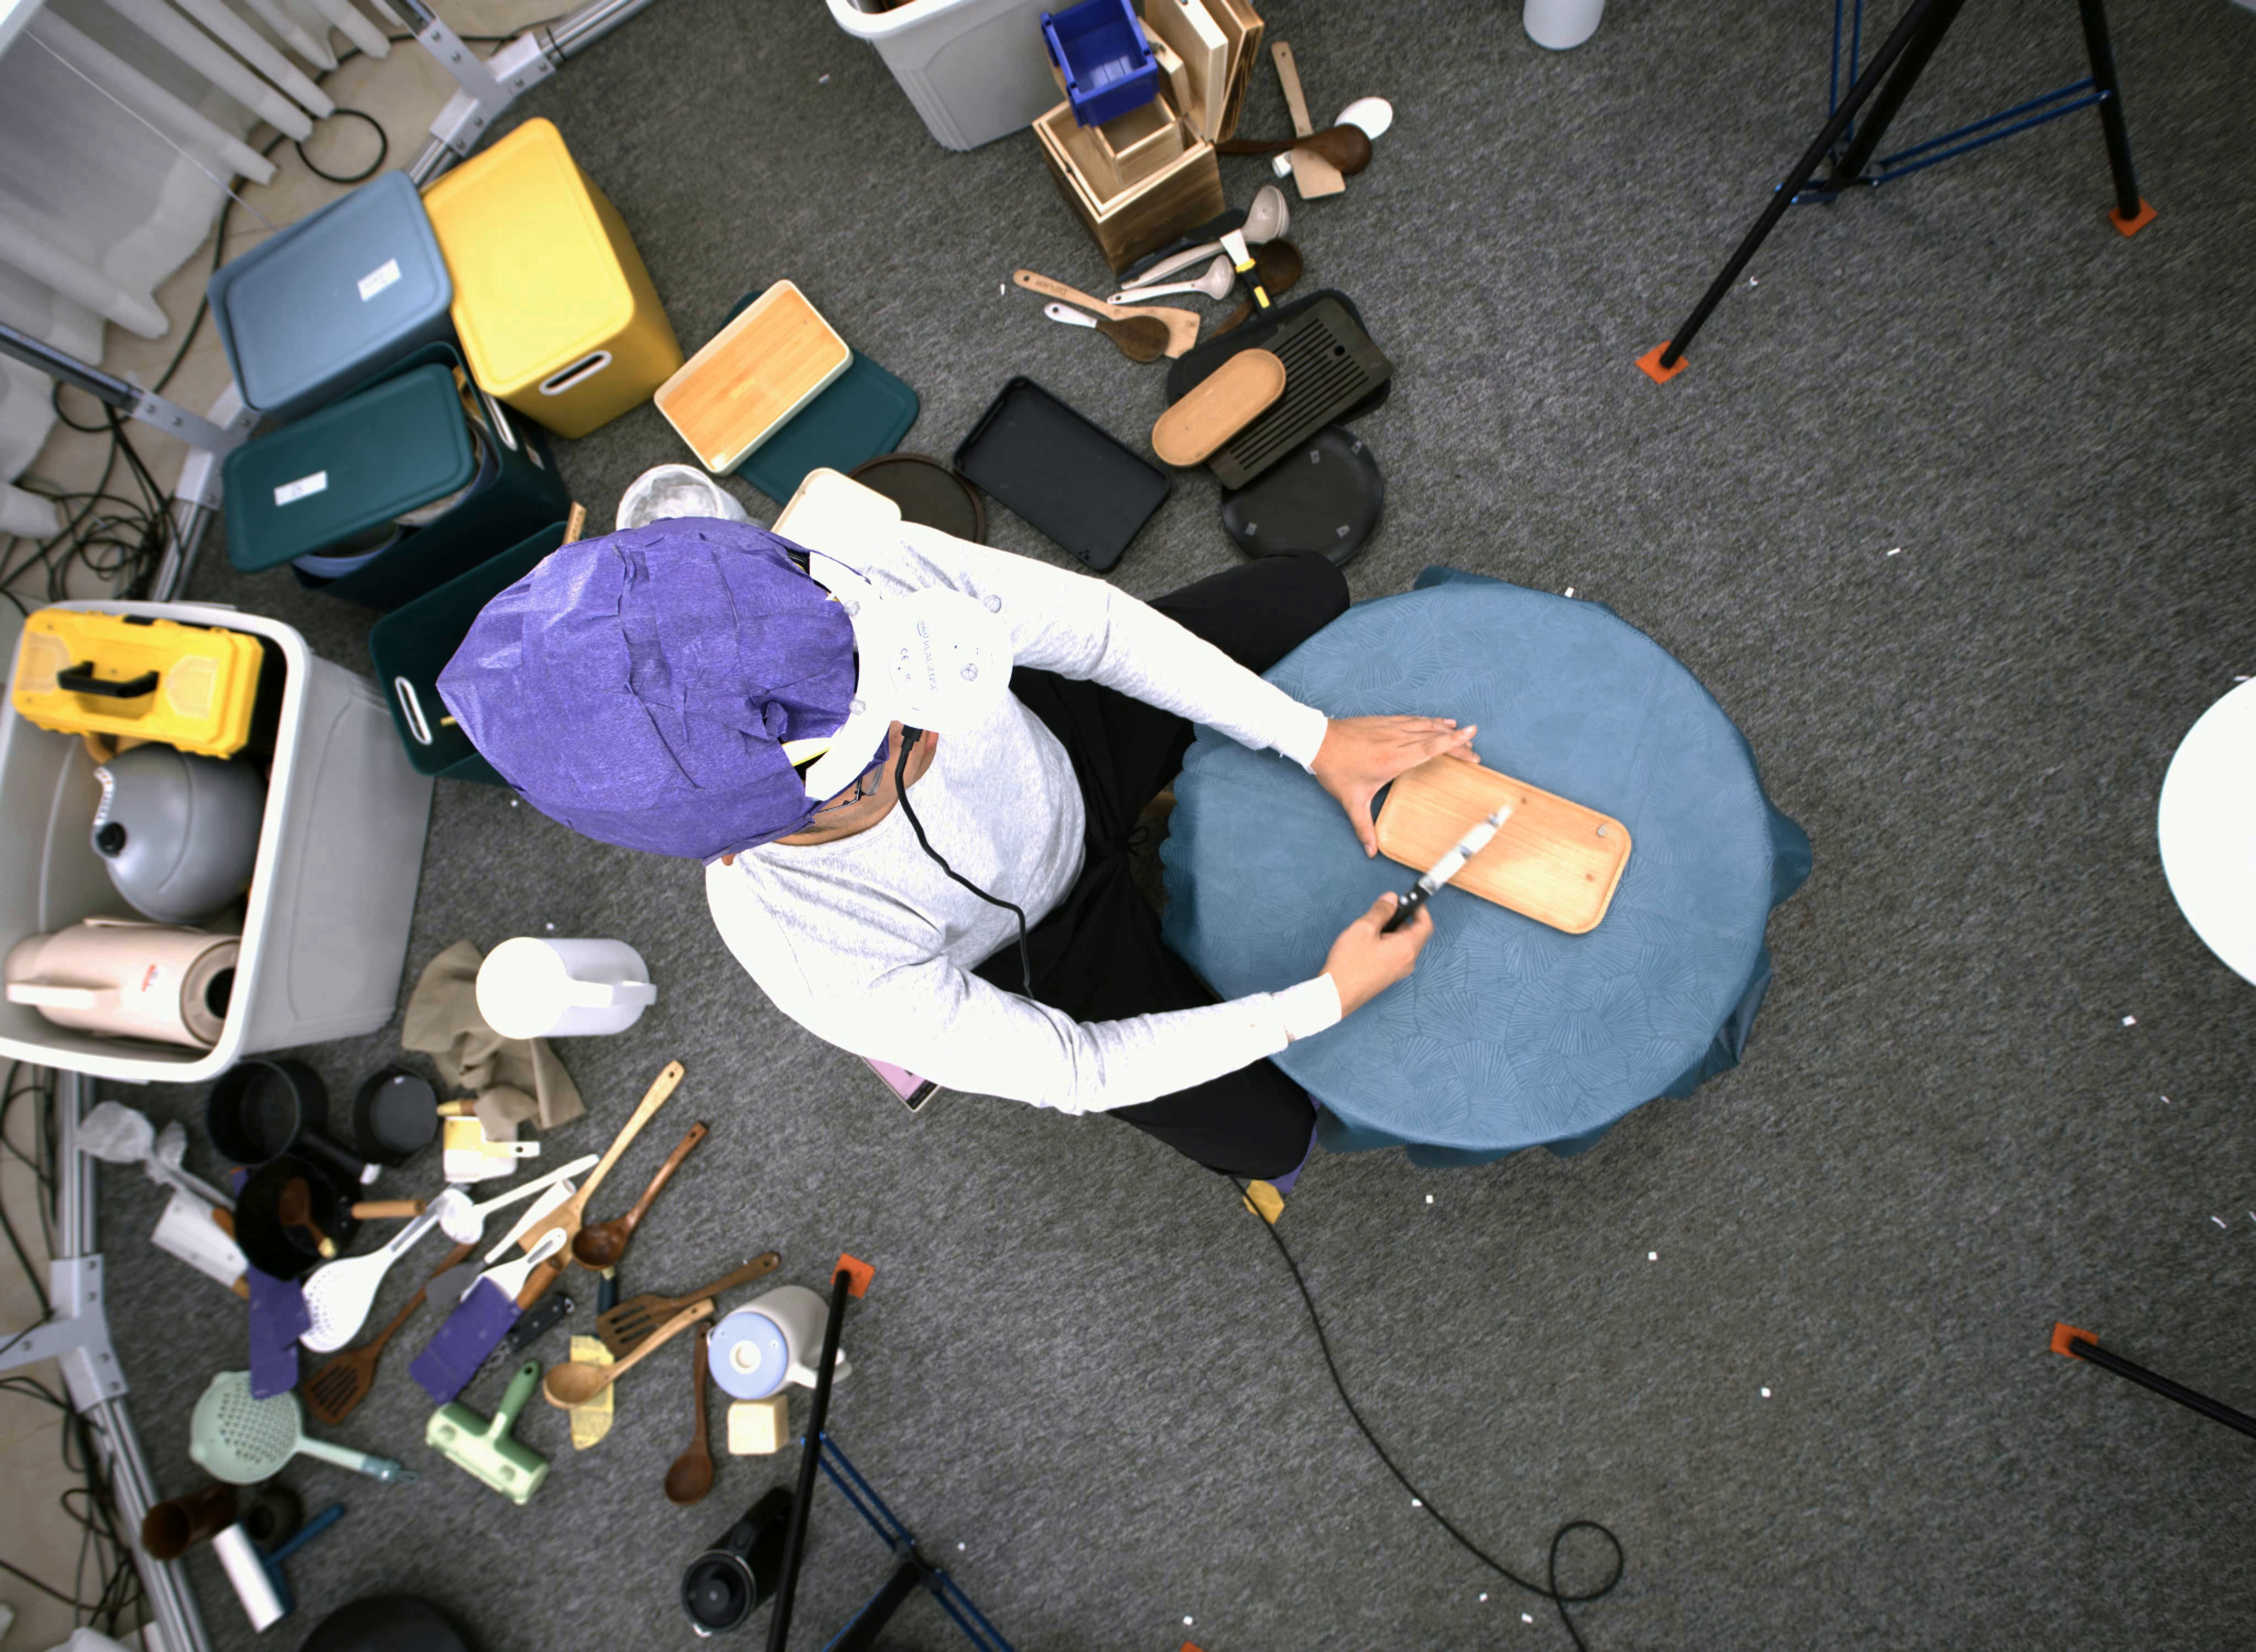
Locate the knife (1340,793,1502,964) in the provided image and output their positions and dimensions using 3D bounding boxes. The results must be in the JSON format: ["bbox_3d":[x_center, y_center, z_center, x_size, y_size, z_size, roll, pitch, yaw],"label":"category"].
[{"bbox_3d":[0.301,0.051,1.395,0.238,0.016,0.024,-46,53,-2],"label":"knife"}]

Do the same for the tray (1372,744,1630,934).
[{"bbox_3d":[0.387,0.010,1.433,0.250,0.023,0.130,24,89,12],"label":"tray"}]
